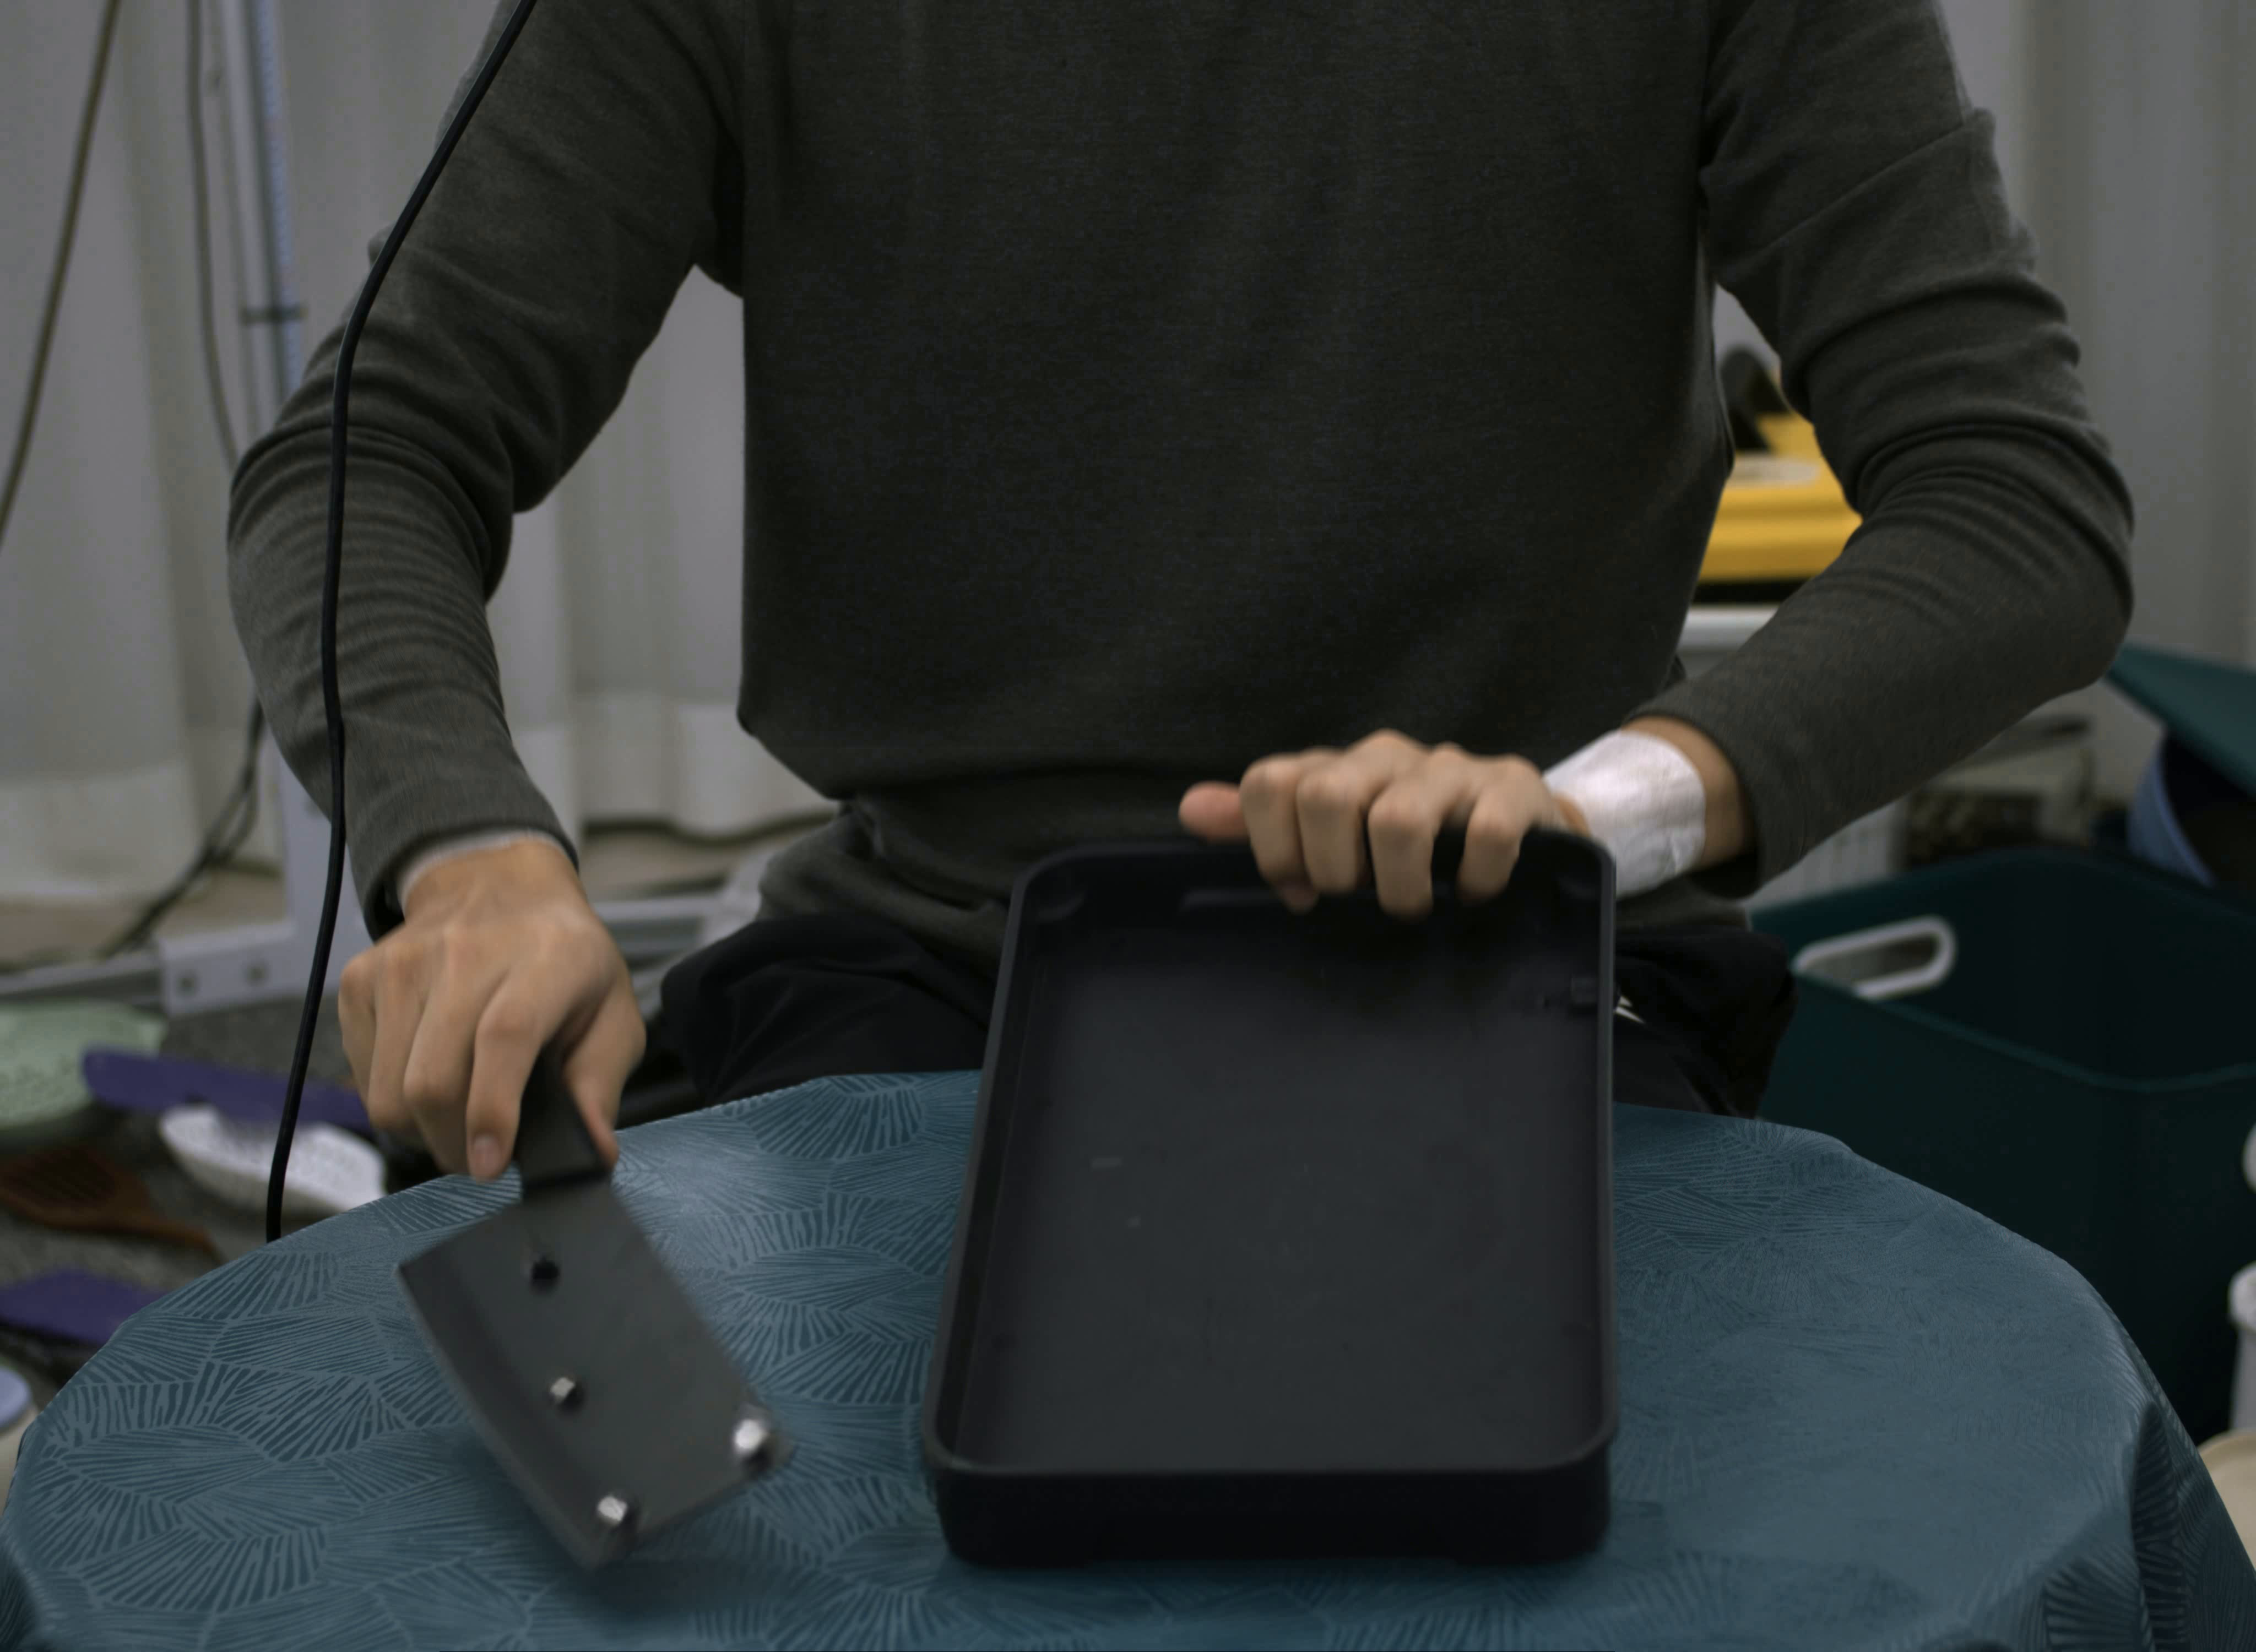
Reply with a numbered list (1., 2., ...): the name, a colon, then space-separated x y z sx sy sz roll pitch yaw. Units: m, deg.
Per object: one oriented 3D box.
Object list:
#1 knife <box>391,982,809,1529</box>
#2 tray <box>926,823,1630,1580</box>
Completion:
1. knife: -0.162 0.114 1.529 0.081 0.020 0.306 -26 29 -8
2. tray: 0.046 0.099 1.541 0.184 0.036 0.322 -3 30 5
